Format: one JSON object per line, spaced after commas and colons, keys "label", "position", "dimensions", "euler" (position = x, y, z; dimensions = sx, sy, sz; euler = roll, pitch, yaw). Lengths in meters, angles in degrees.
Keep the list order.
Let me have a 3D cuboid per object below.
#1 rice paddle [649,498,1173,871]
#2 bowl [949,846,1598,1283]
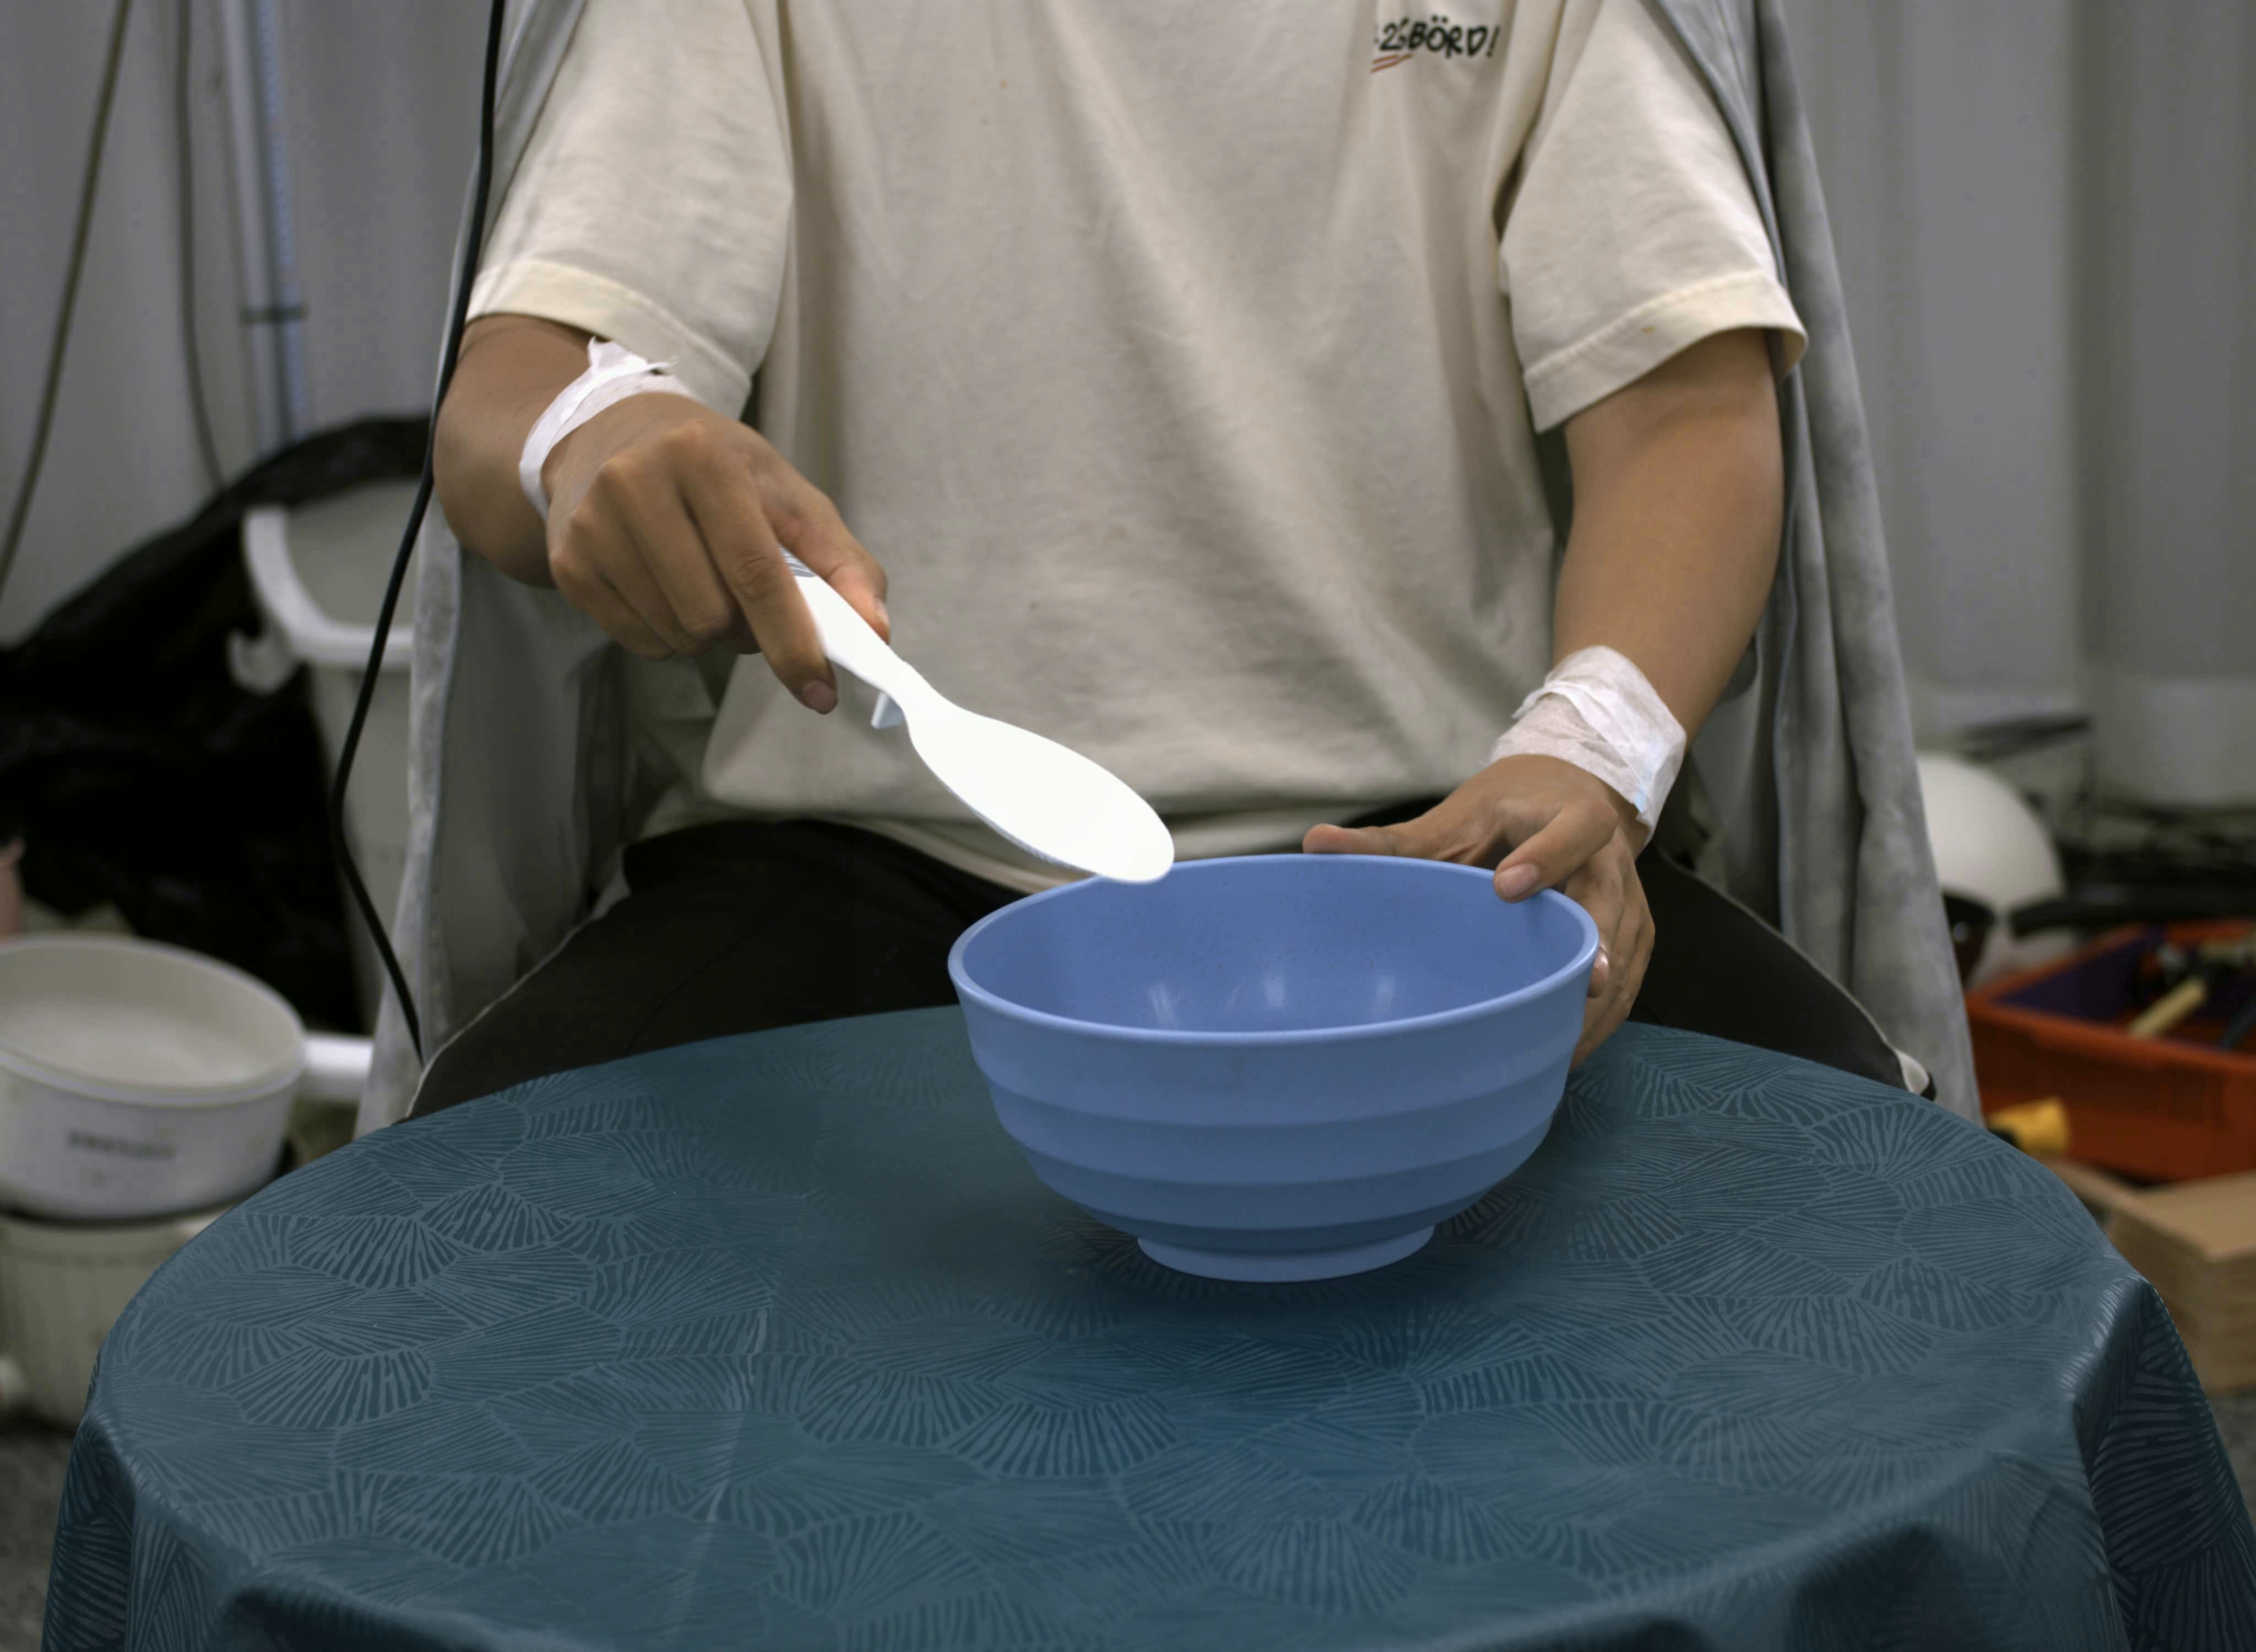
{"label": "rice paddle", "position": [-0.066, -0.041, 1.680], "dimensions": [0.207, 0.029, 0.068], "euler": [34, 29, 30]}
{"label": "bowl", "position": [0.046, 0.078, 1.661], "dimensions": [0.196, 0.095, 0.198], "euler": [-3, 16, 1]}
